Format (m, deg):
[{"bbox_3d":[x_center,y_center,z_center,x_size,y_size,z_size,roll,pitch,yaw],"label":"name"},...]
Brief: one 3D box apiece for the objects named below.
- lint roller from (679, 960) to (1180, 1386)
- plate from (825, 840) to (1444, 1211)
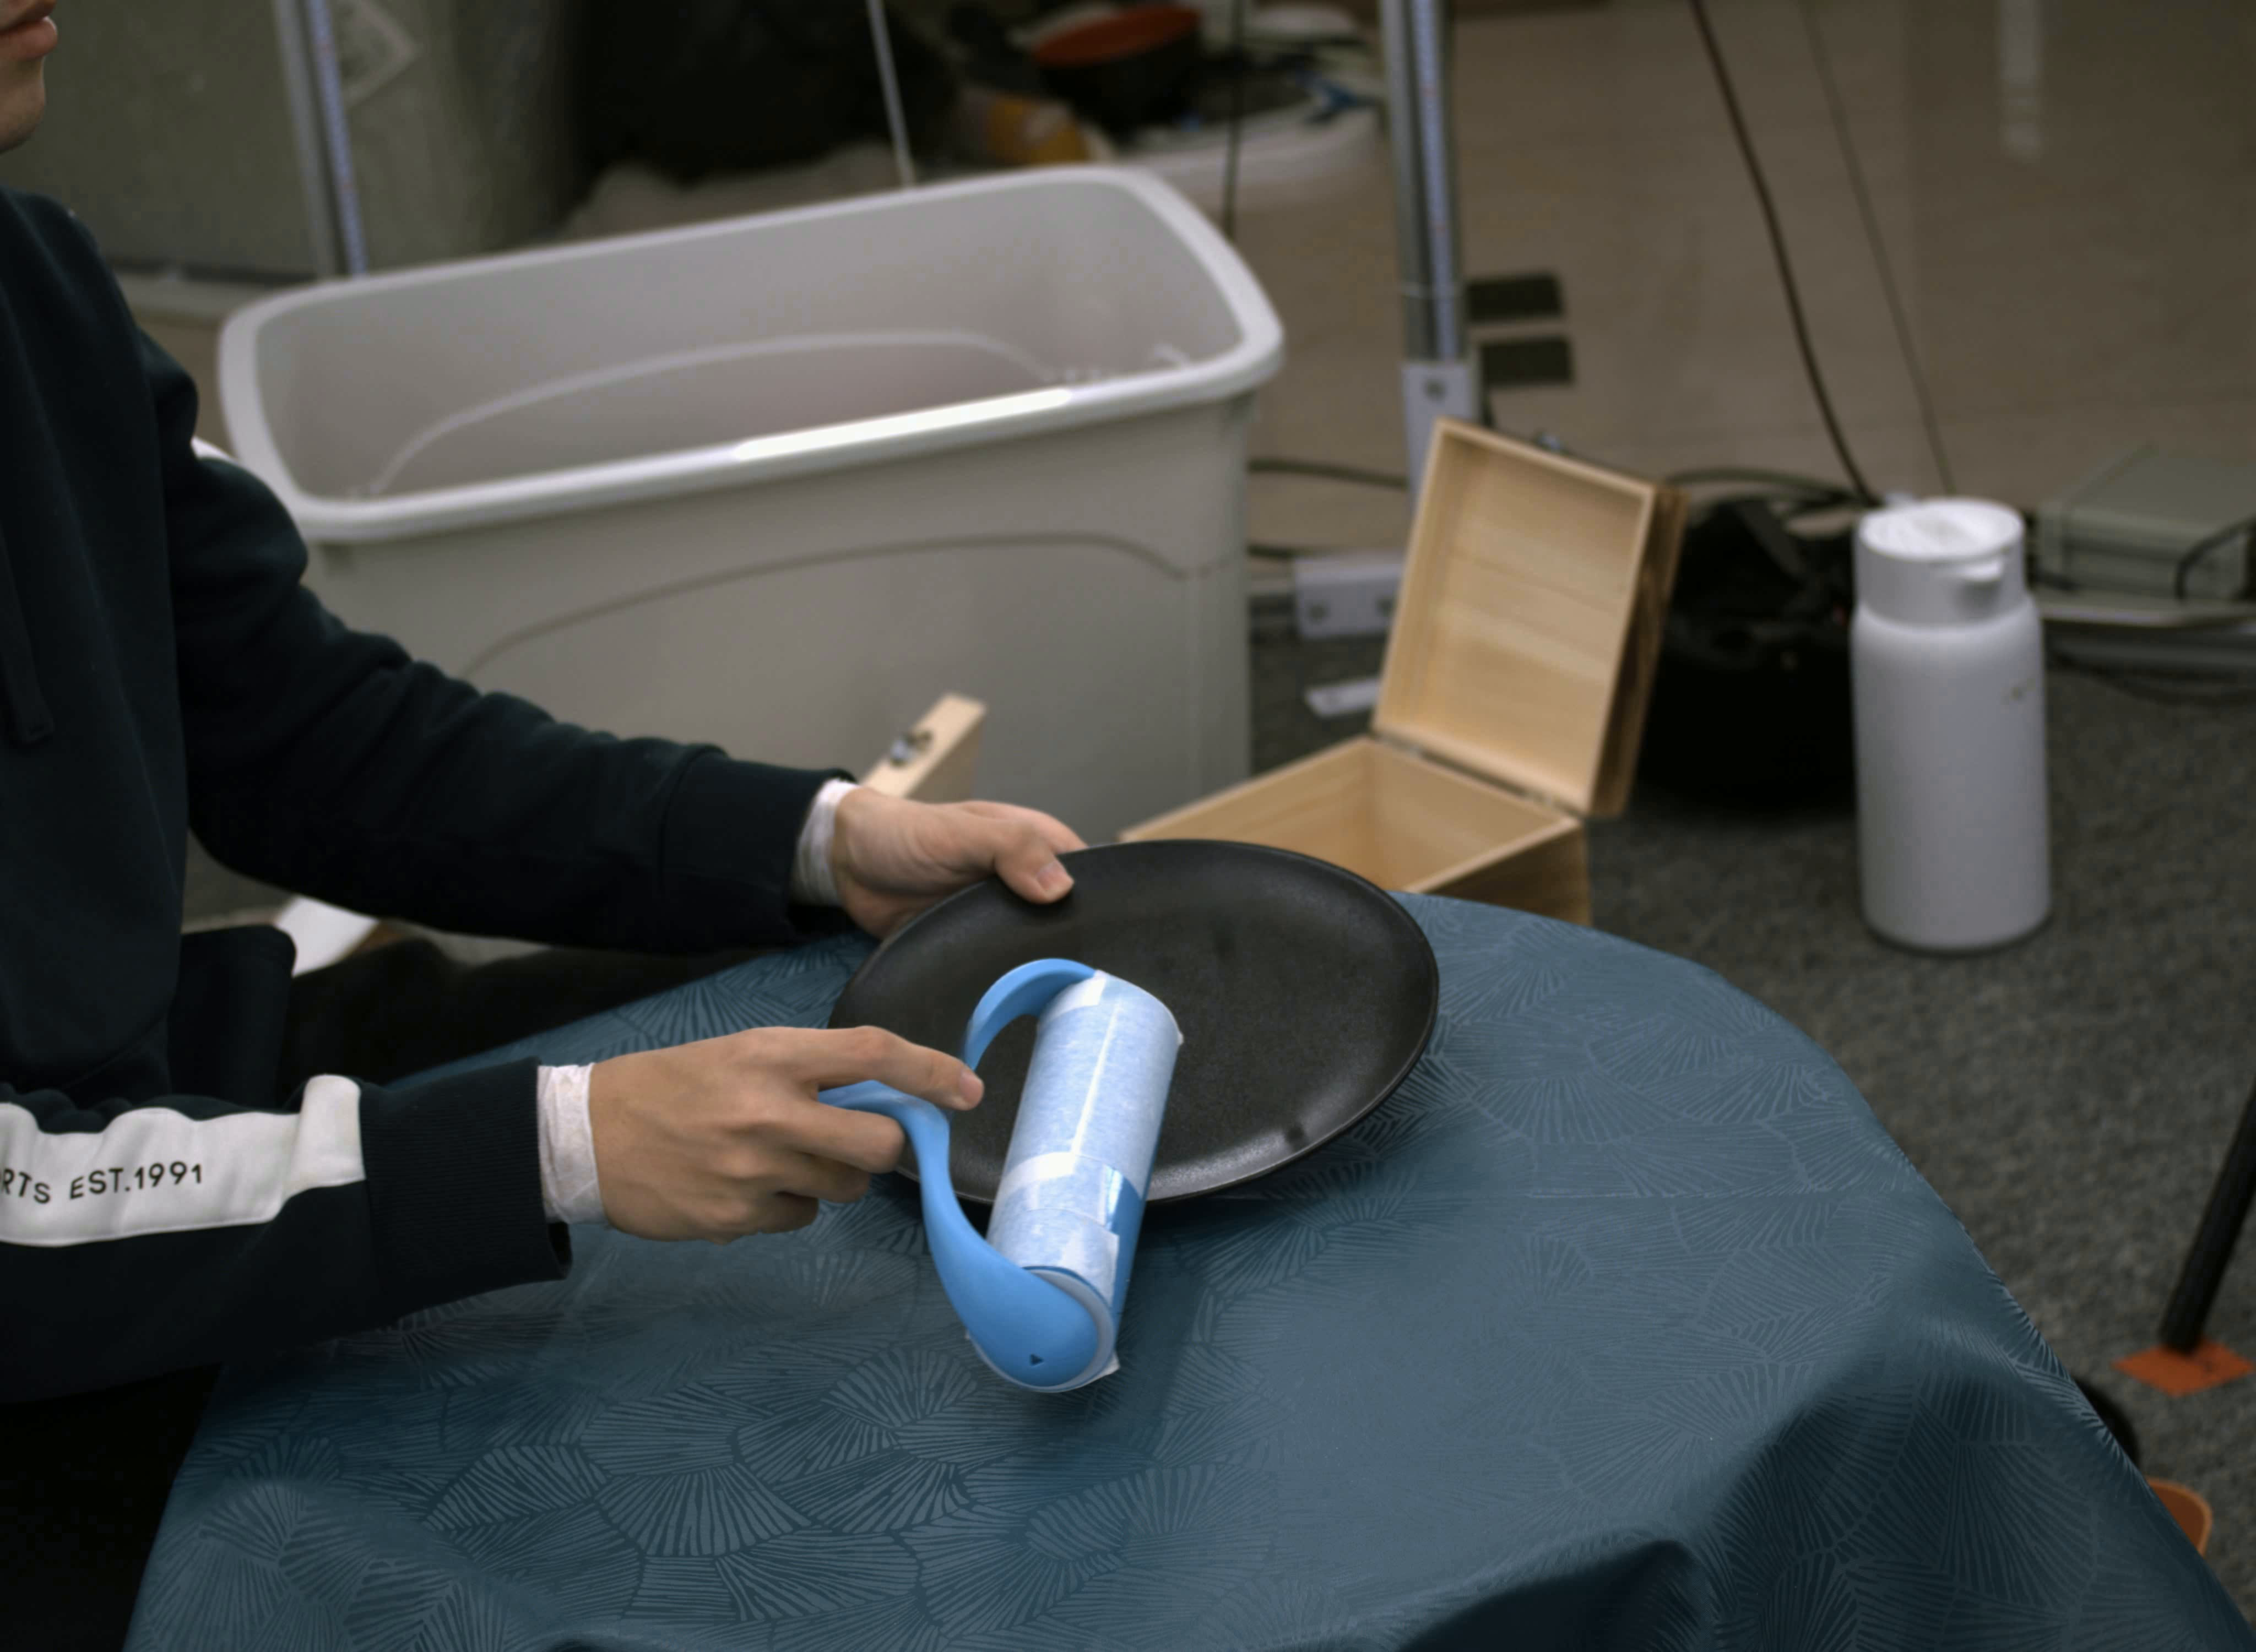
[{"bbox_3d":[-0.076,0.124,2.064,0.180,0.069,0.225,2,32,3],"label":"lint roller"},{"bbox_3d":[0.003,0.082,2.204,0.244,0.024,0.240,-7,34,5],"label":"plate"}]
